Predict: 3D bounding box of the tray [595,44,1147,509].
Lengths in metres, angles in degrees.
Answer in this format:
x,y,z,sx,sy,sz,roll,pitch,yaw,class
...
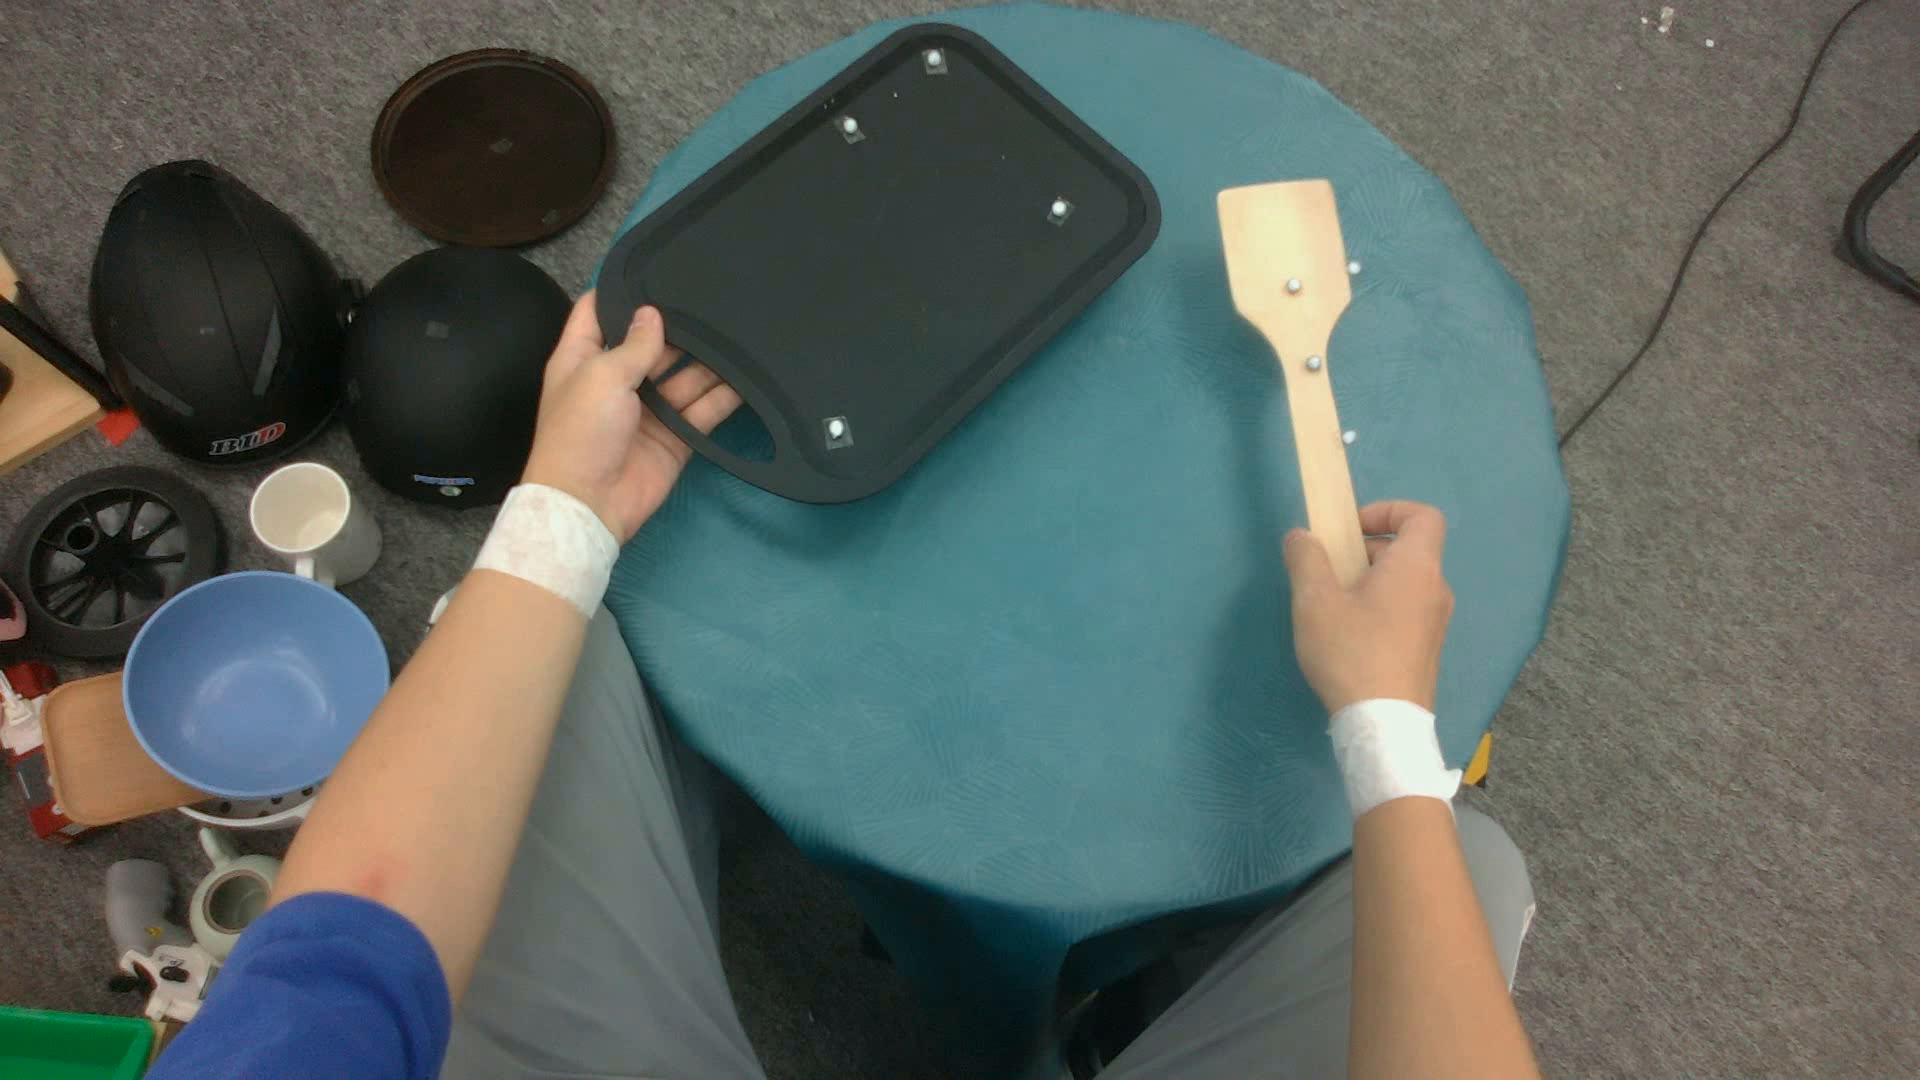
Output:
x,y,z,sx,sy,sz,roll,pitch,yaw,class
-0.049,-0.161,0.806,0.211,0.010,0.326,42,67,10,tray

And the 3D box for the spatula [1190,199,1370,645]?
x,y,z,sx,sy,sz,roll,pitch,yaw,class
0.194,-0.077,0.801,0.072,0.010,0.294,-6,66,-2,spatula
